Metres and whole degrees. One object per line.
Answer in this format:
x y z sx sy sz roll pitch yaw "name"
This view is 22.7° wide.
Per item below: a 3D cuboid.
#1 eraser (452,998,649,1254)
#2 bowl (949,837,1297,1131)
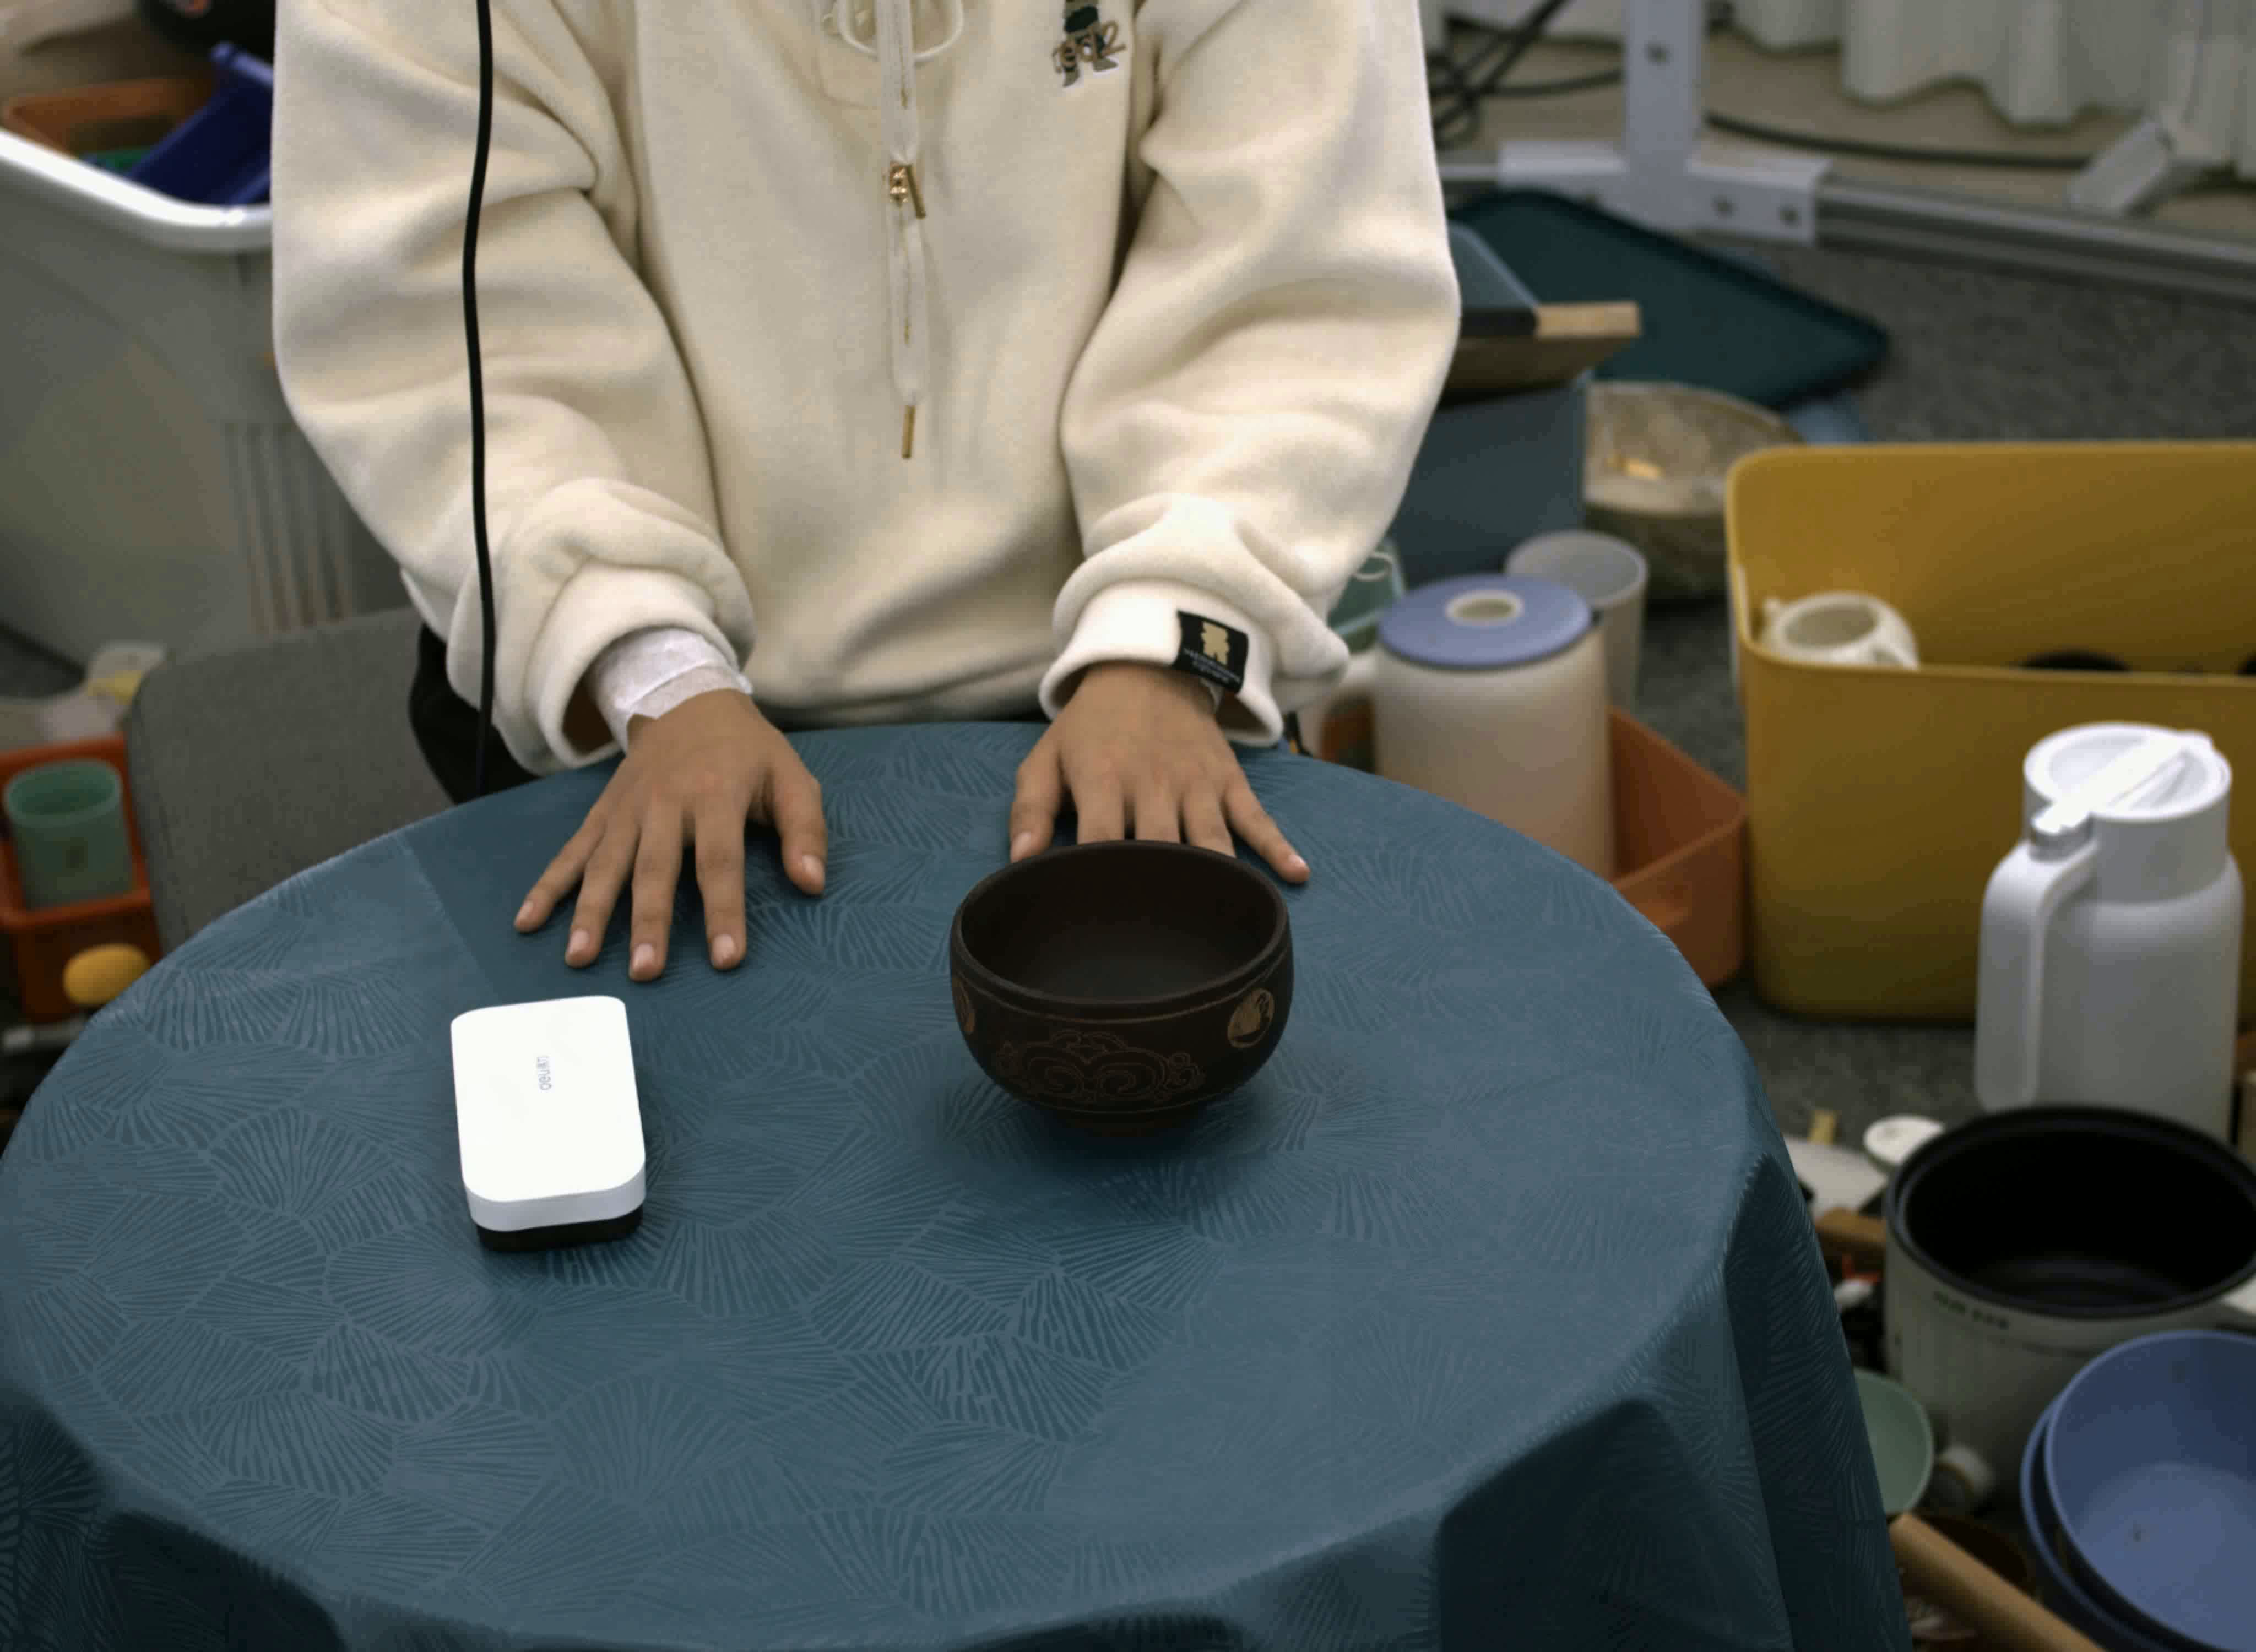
-0.194 0.098 1.894 0.063 0.034 0.133 -6 28 -6 "eraser"
-0.001 0.060 1.903 0.117 0.069 0.120 -1 26 1 "bowl"
